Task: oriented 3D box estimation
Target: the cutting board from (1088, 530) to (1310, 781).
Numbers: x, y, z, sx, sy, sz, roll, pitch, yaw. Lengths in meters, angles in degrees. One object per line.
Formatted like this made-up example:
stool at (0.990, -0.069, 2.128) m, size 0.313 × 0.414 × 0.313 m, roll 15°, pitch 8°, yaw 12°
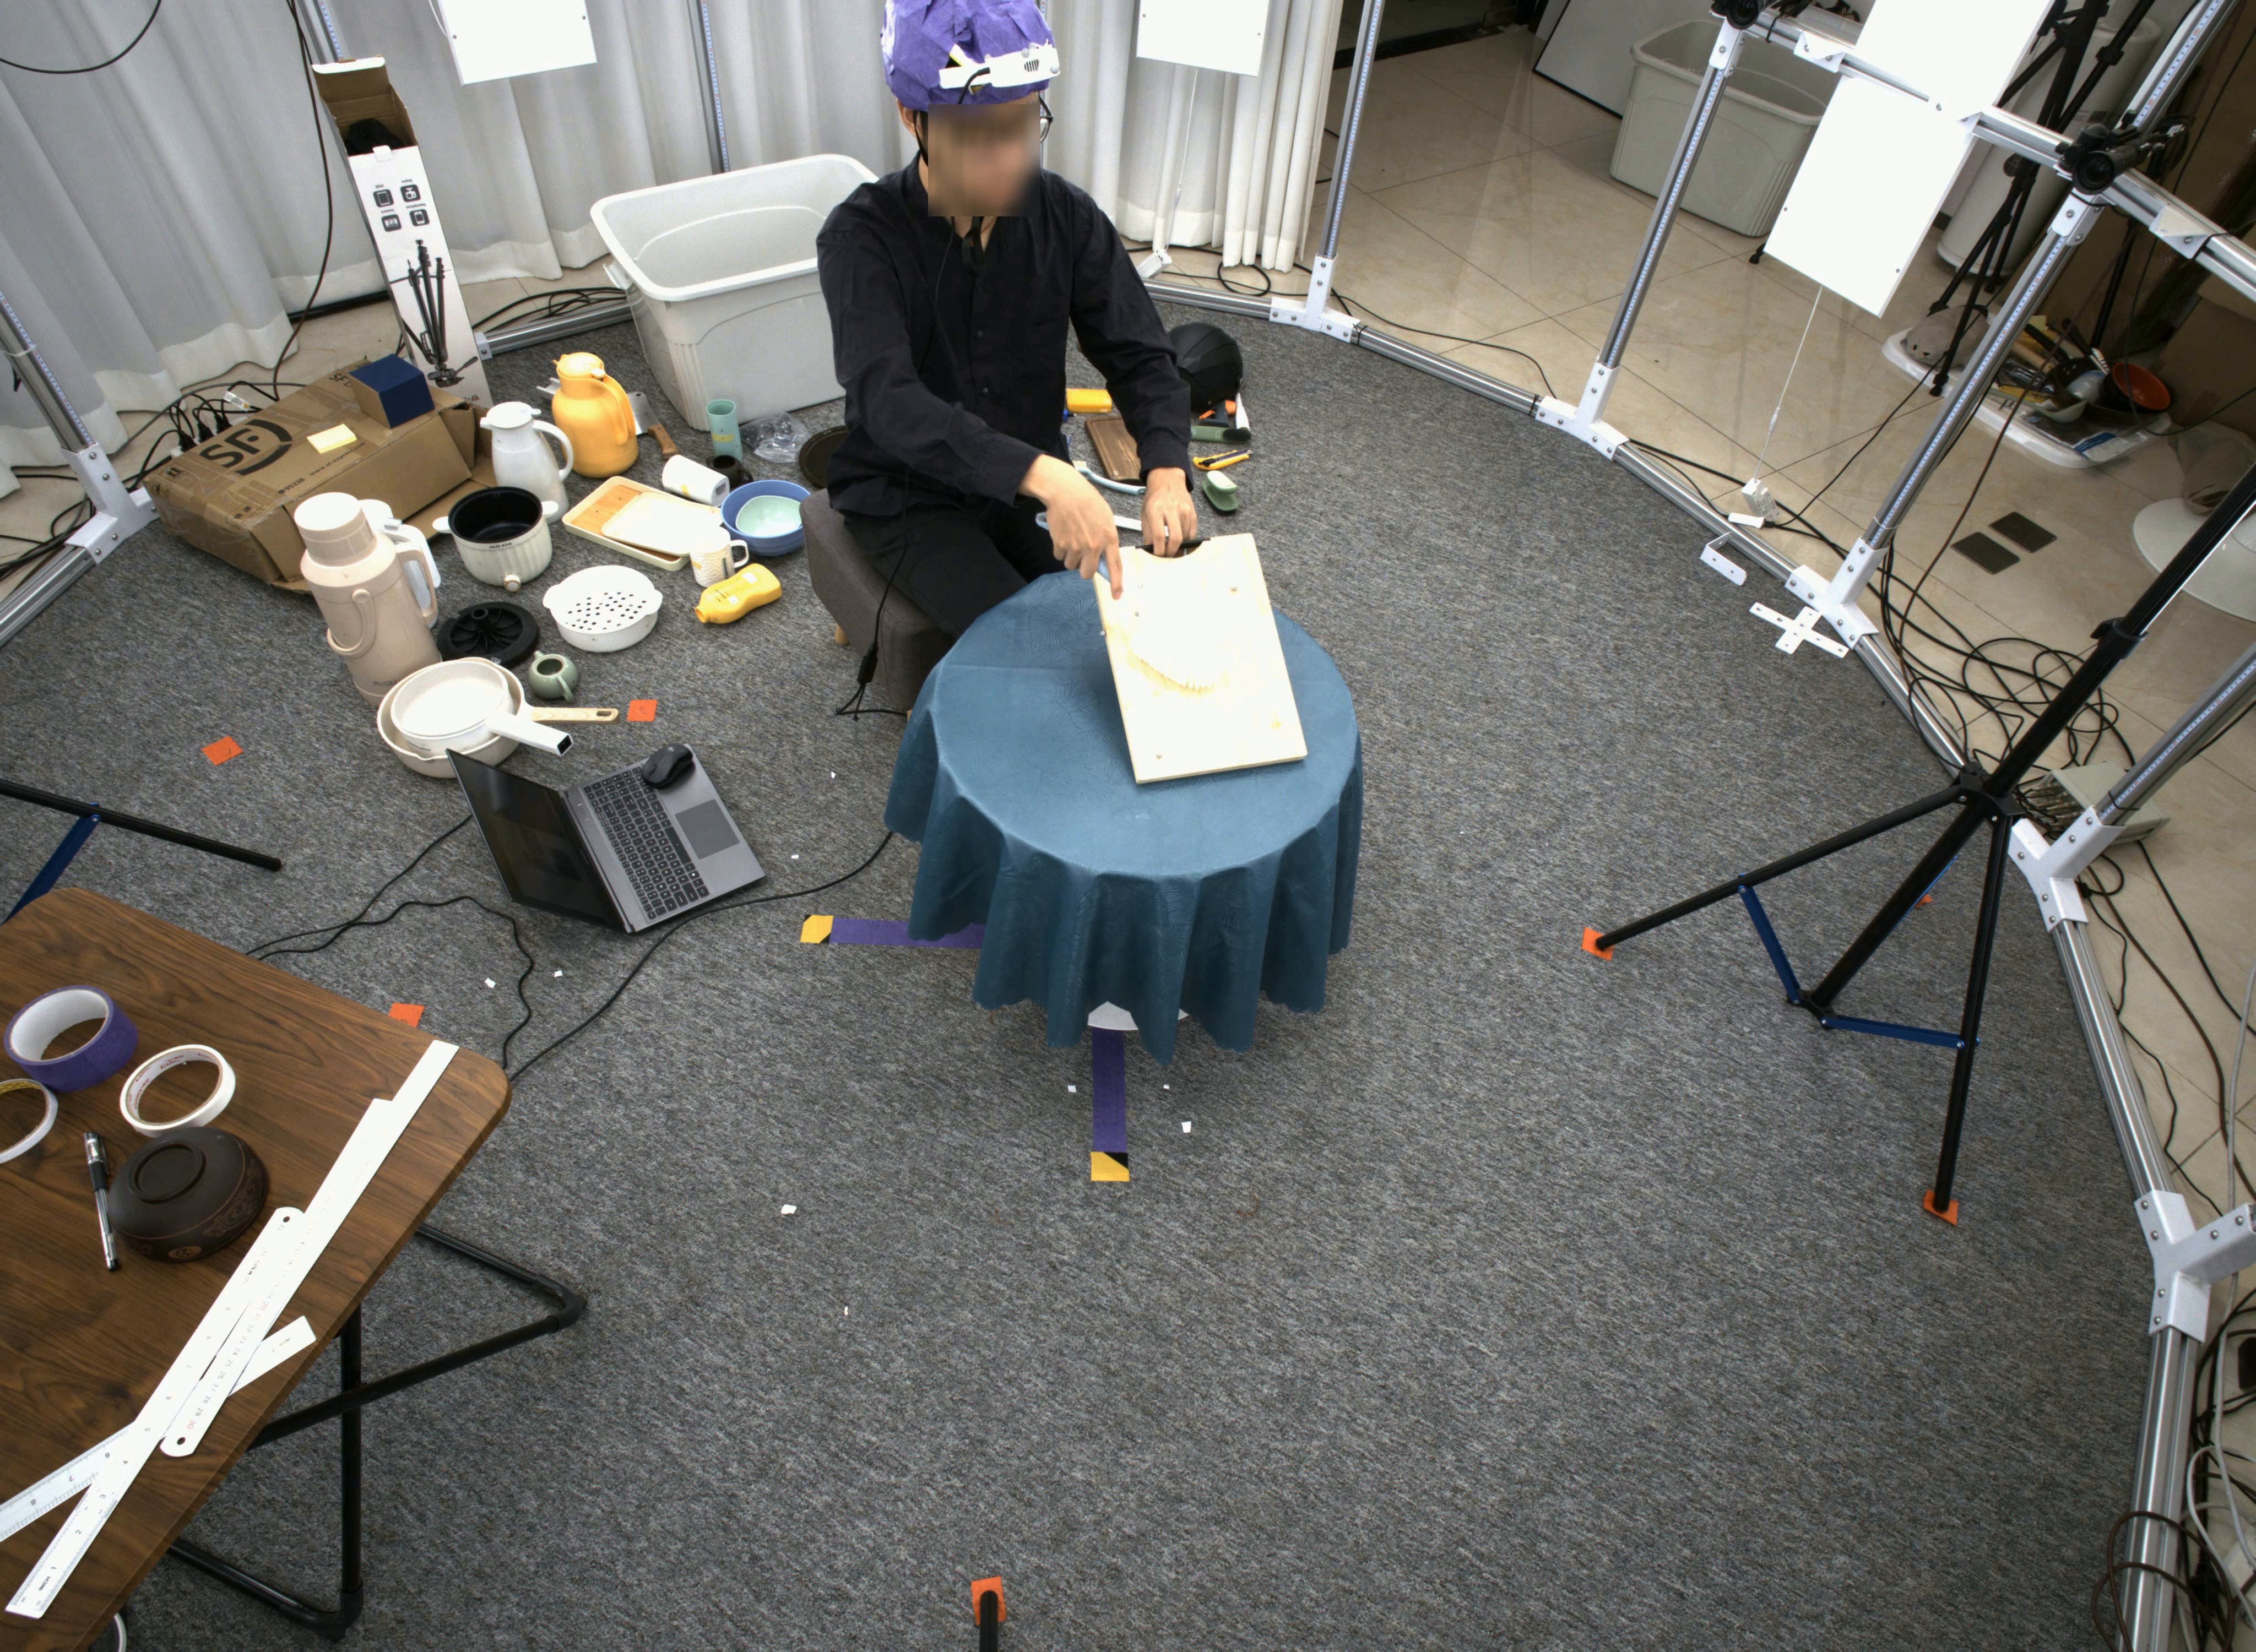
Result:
cutting board at (0.097, -0.240, 1.785) m, size 0.250 × 0.023 × 0.353 m, roll -10°, pitch 74°, yaw -13°

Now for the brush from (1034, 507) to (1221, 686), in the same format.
brush at (-0.006, -0.305, 1.734) m, size 0.324 × 0.083 × 0.084 m, roll 40°, pitch 27°, yaw -8°
